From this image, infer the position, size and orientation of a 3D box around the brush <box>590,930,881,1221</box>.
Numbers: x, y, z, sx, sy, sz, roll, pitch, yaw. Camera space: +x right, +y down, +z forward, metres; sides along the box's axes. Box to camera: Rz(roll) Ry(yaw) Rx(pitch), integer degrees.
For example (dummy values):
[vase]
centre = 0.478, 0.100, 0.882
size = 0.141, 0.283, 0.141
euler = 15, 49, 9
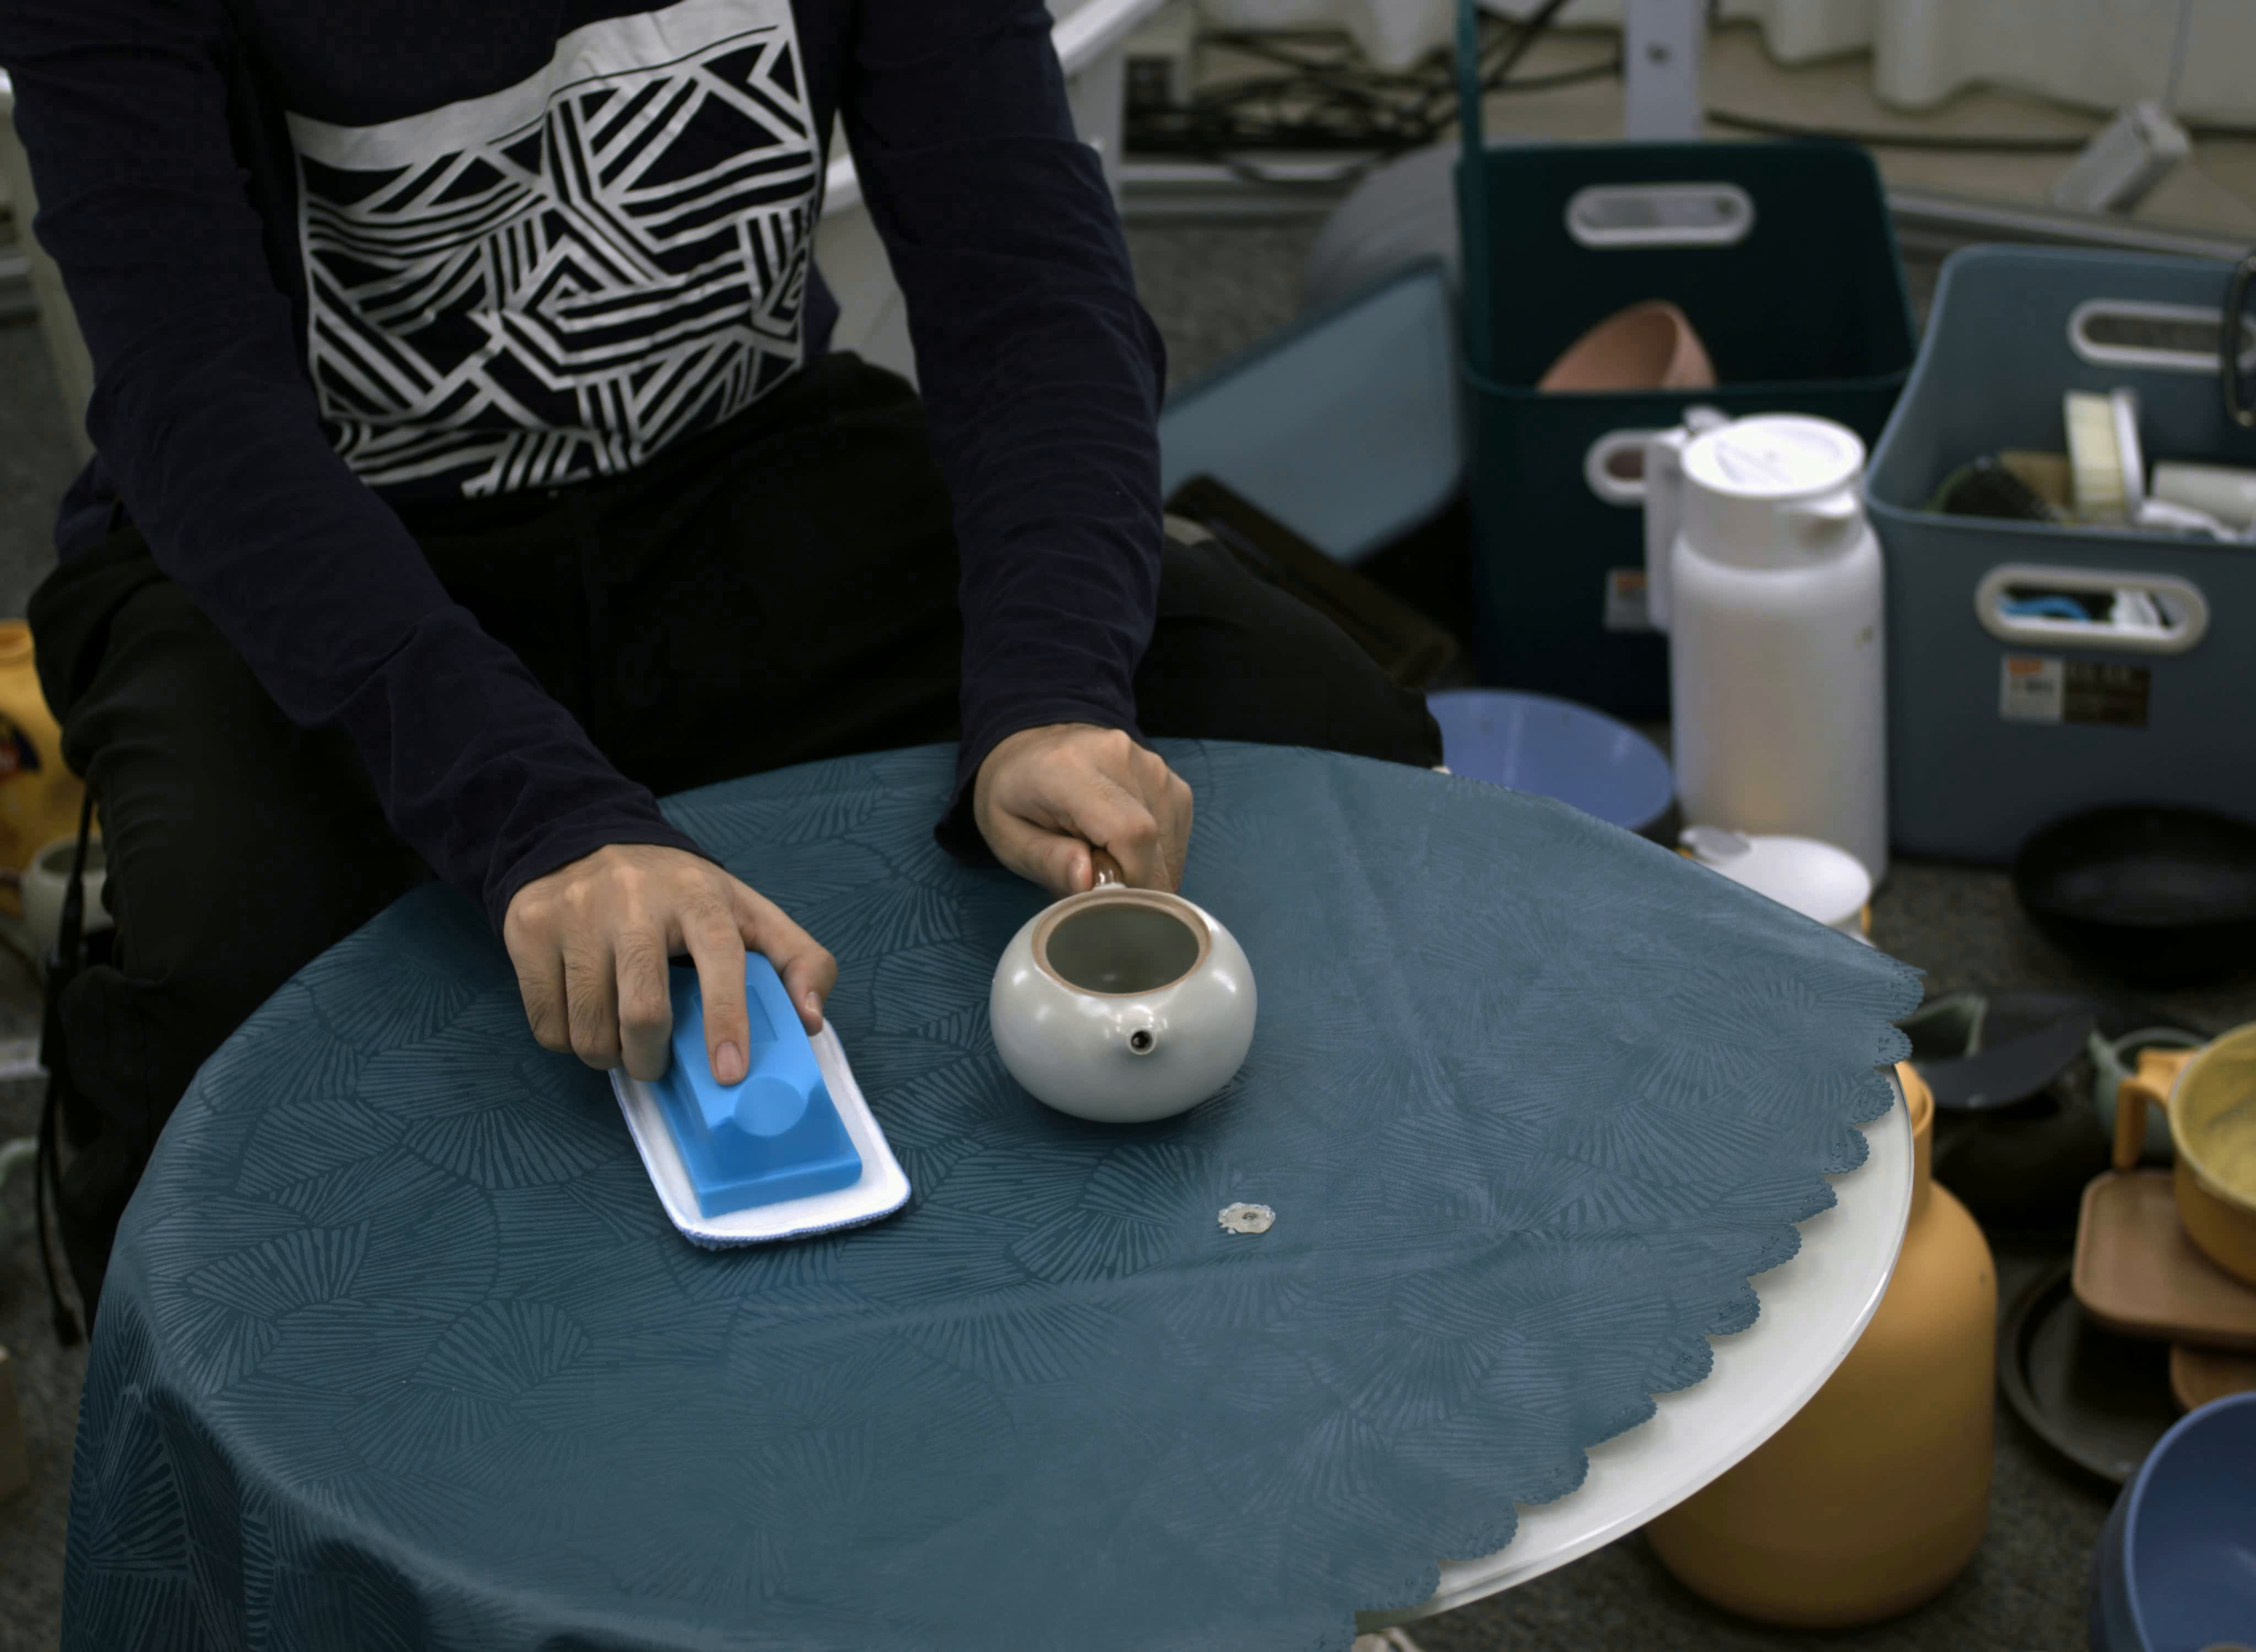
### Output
[brush]
centre = -0.132, 0.079, 1.888
size = 0.084, 0.055, 0.145
euler = -6, 30, -13

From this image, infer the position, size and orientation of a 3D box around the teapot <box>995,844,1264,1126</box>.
[teapot]
centre = -0.001, 0.056, 1.913
size = 0.091, 0.059, 0.130
euler = -8, 37, -6
